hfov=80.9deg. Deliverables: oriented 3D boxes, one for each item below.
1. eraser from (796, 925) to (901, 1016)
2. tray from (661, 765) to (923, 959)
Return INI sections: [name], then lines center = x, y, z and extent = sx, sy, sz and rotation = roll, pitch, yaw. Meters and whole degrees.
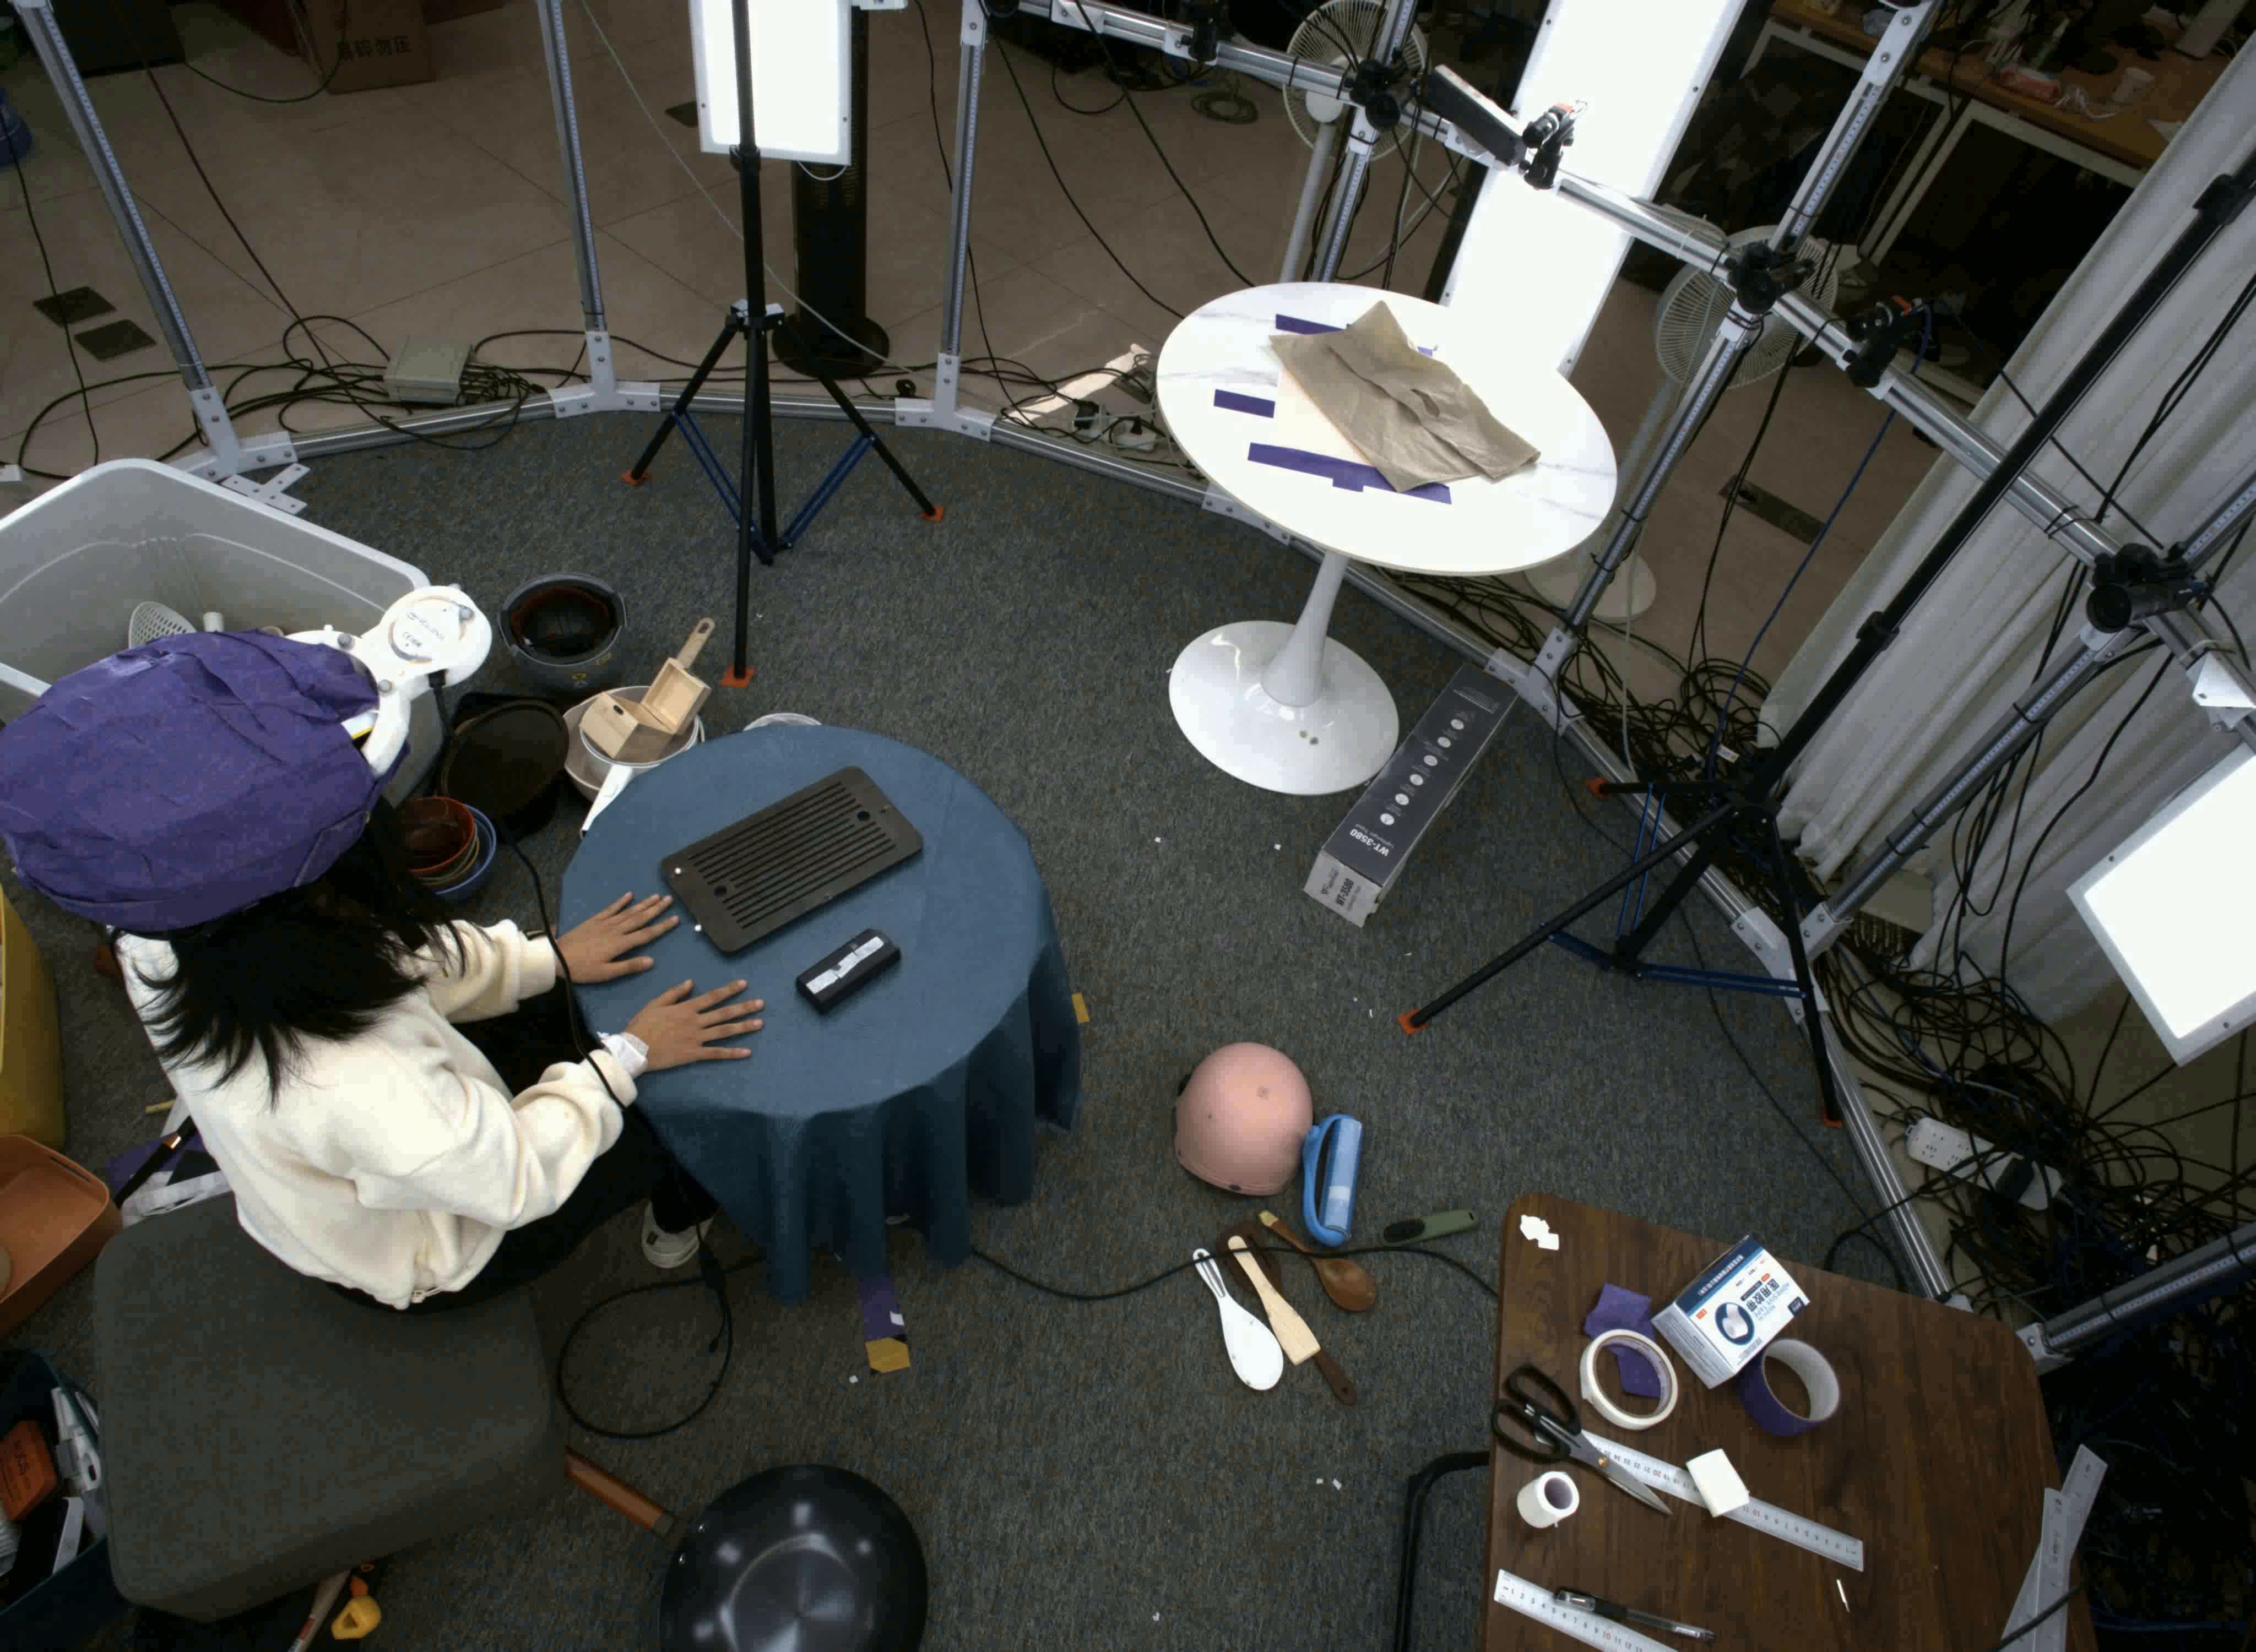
[eraser]
center = -0.342, 0.173, 1.593
extent = 0.052, 0.031, 0.126
rotation = 39, 55, 20
[tray]
center = -0.431, 0.040, 1.675
extent = 0.307, 0.019, 0.166
rotation = -32, 67, -32
